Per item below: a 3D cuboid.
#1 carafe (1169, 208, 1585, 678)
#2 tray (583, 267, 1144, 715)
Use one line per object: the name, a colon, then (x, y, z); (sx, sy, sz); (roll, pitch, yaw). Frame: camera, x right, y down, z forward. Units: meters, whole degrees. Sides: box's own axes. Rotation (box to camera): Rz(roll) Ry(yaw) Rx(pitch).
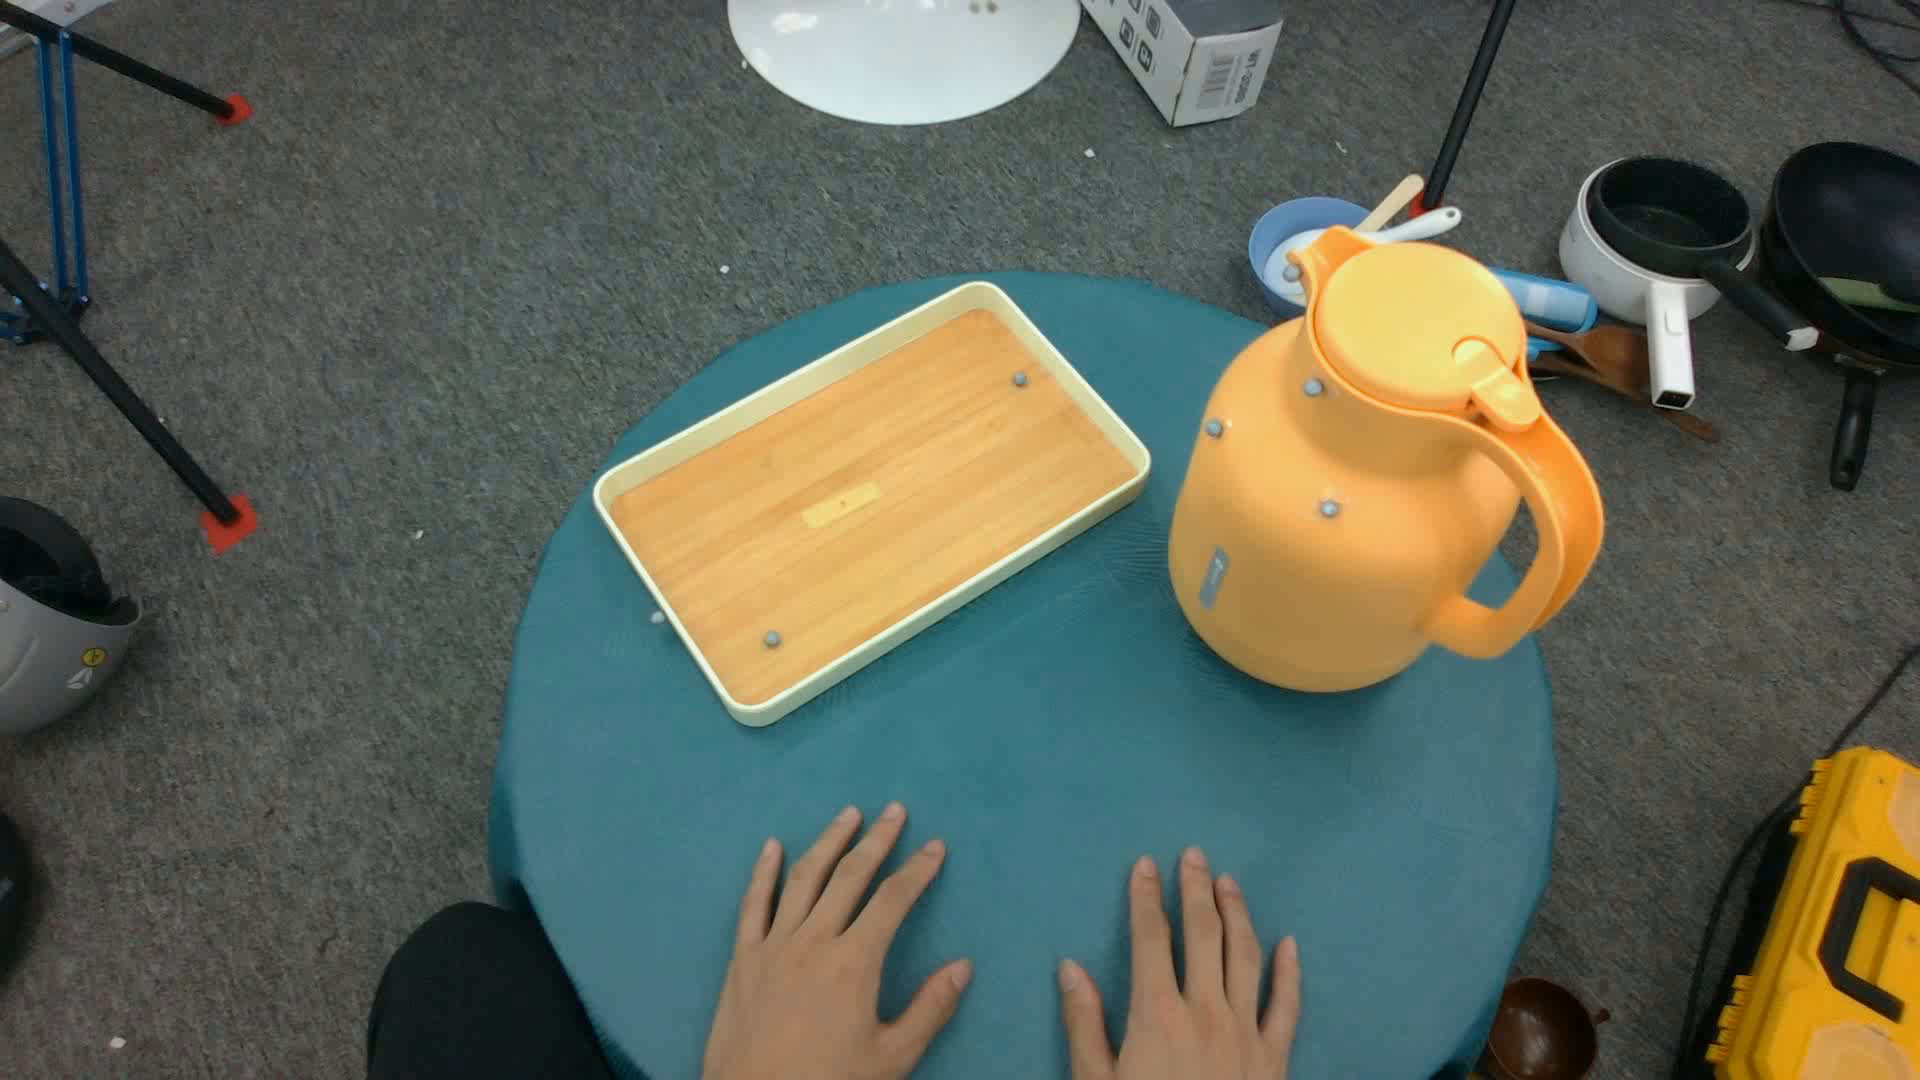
carafe: (0.210, -0.031, 0.707); (0.164, 0.259, 0.203); (-29, 63, -14)
tray: (-0.057, -0.041, 0.843); (0.301, 0.027, 0.192); (-31, 64, -18)
